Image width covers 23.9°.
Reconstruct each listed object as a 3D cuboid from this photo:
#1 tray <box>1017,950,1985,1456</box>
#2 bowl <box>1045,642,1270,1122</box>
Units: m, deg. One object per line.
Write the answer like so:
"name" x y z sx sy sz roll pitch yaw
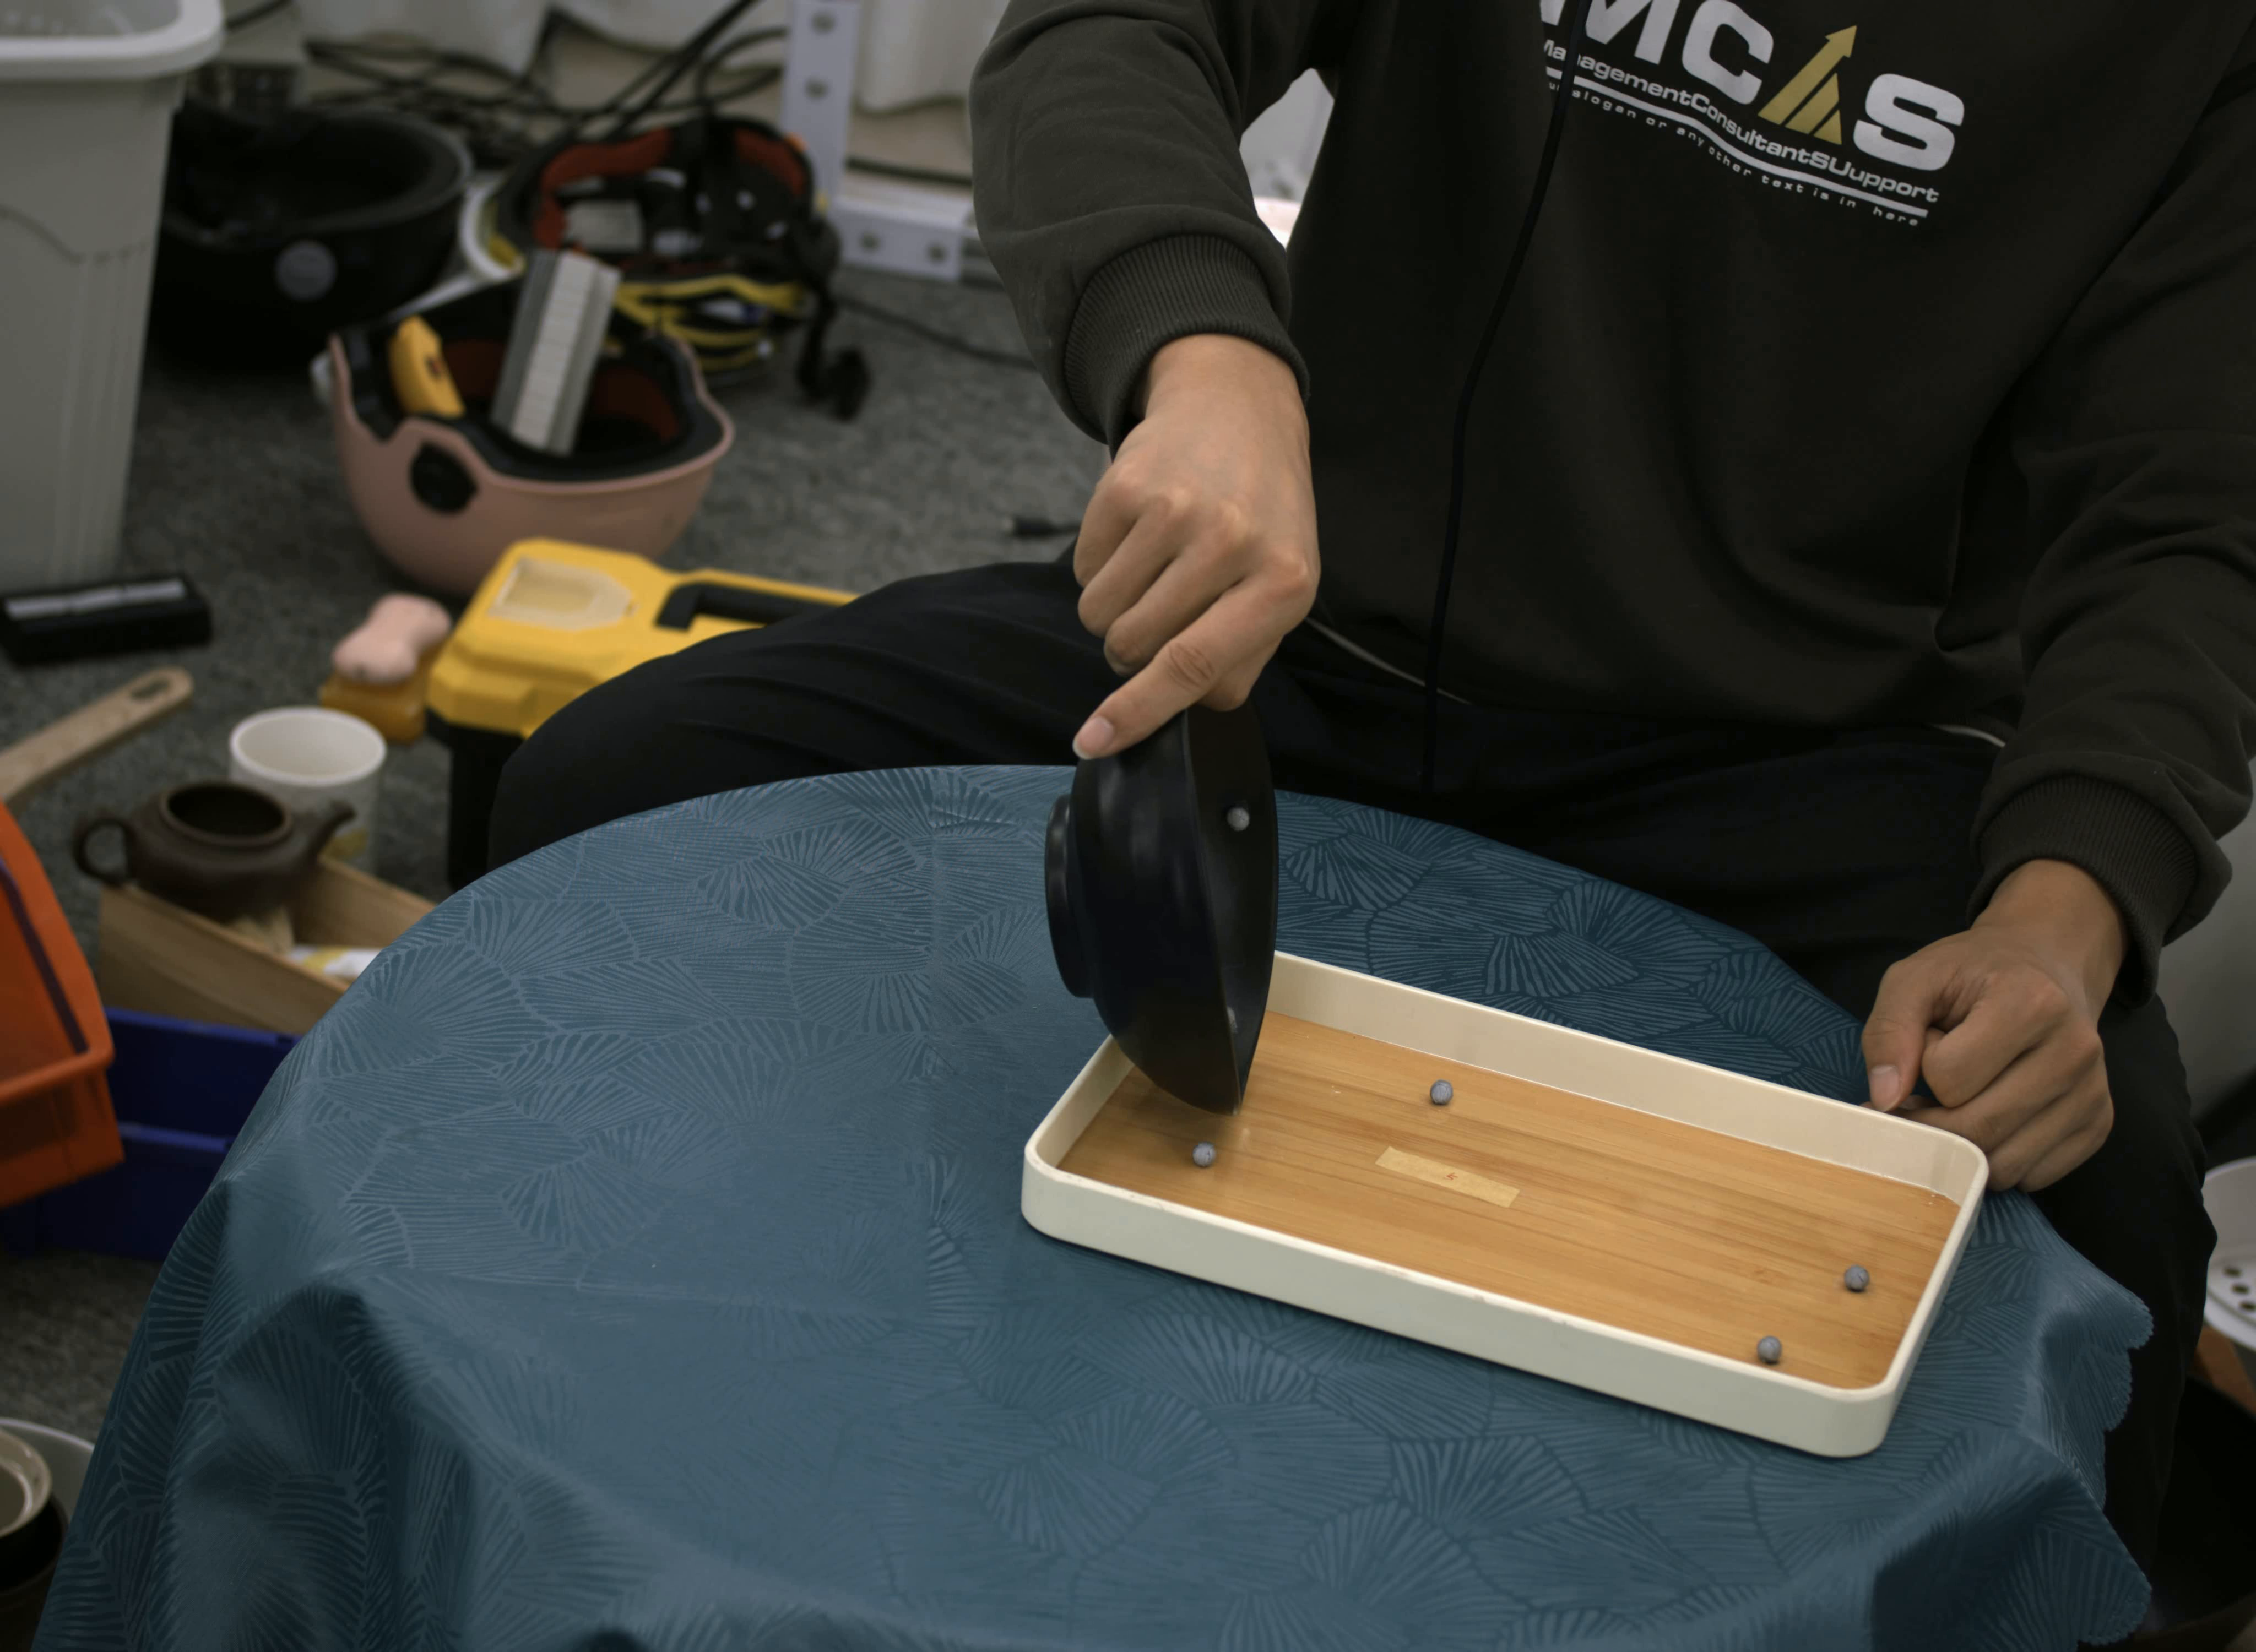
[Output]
"tray" 0.129 0.123 1.810 0.301 0.027 0.192 14 27 15
"bowl" 0.009 0.019 1.815 0.066 0.169 0.138 -1 29 12
